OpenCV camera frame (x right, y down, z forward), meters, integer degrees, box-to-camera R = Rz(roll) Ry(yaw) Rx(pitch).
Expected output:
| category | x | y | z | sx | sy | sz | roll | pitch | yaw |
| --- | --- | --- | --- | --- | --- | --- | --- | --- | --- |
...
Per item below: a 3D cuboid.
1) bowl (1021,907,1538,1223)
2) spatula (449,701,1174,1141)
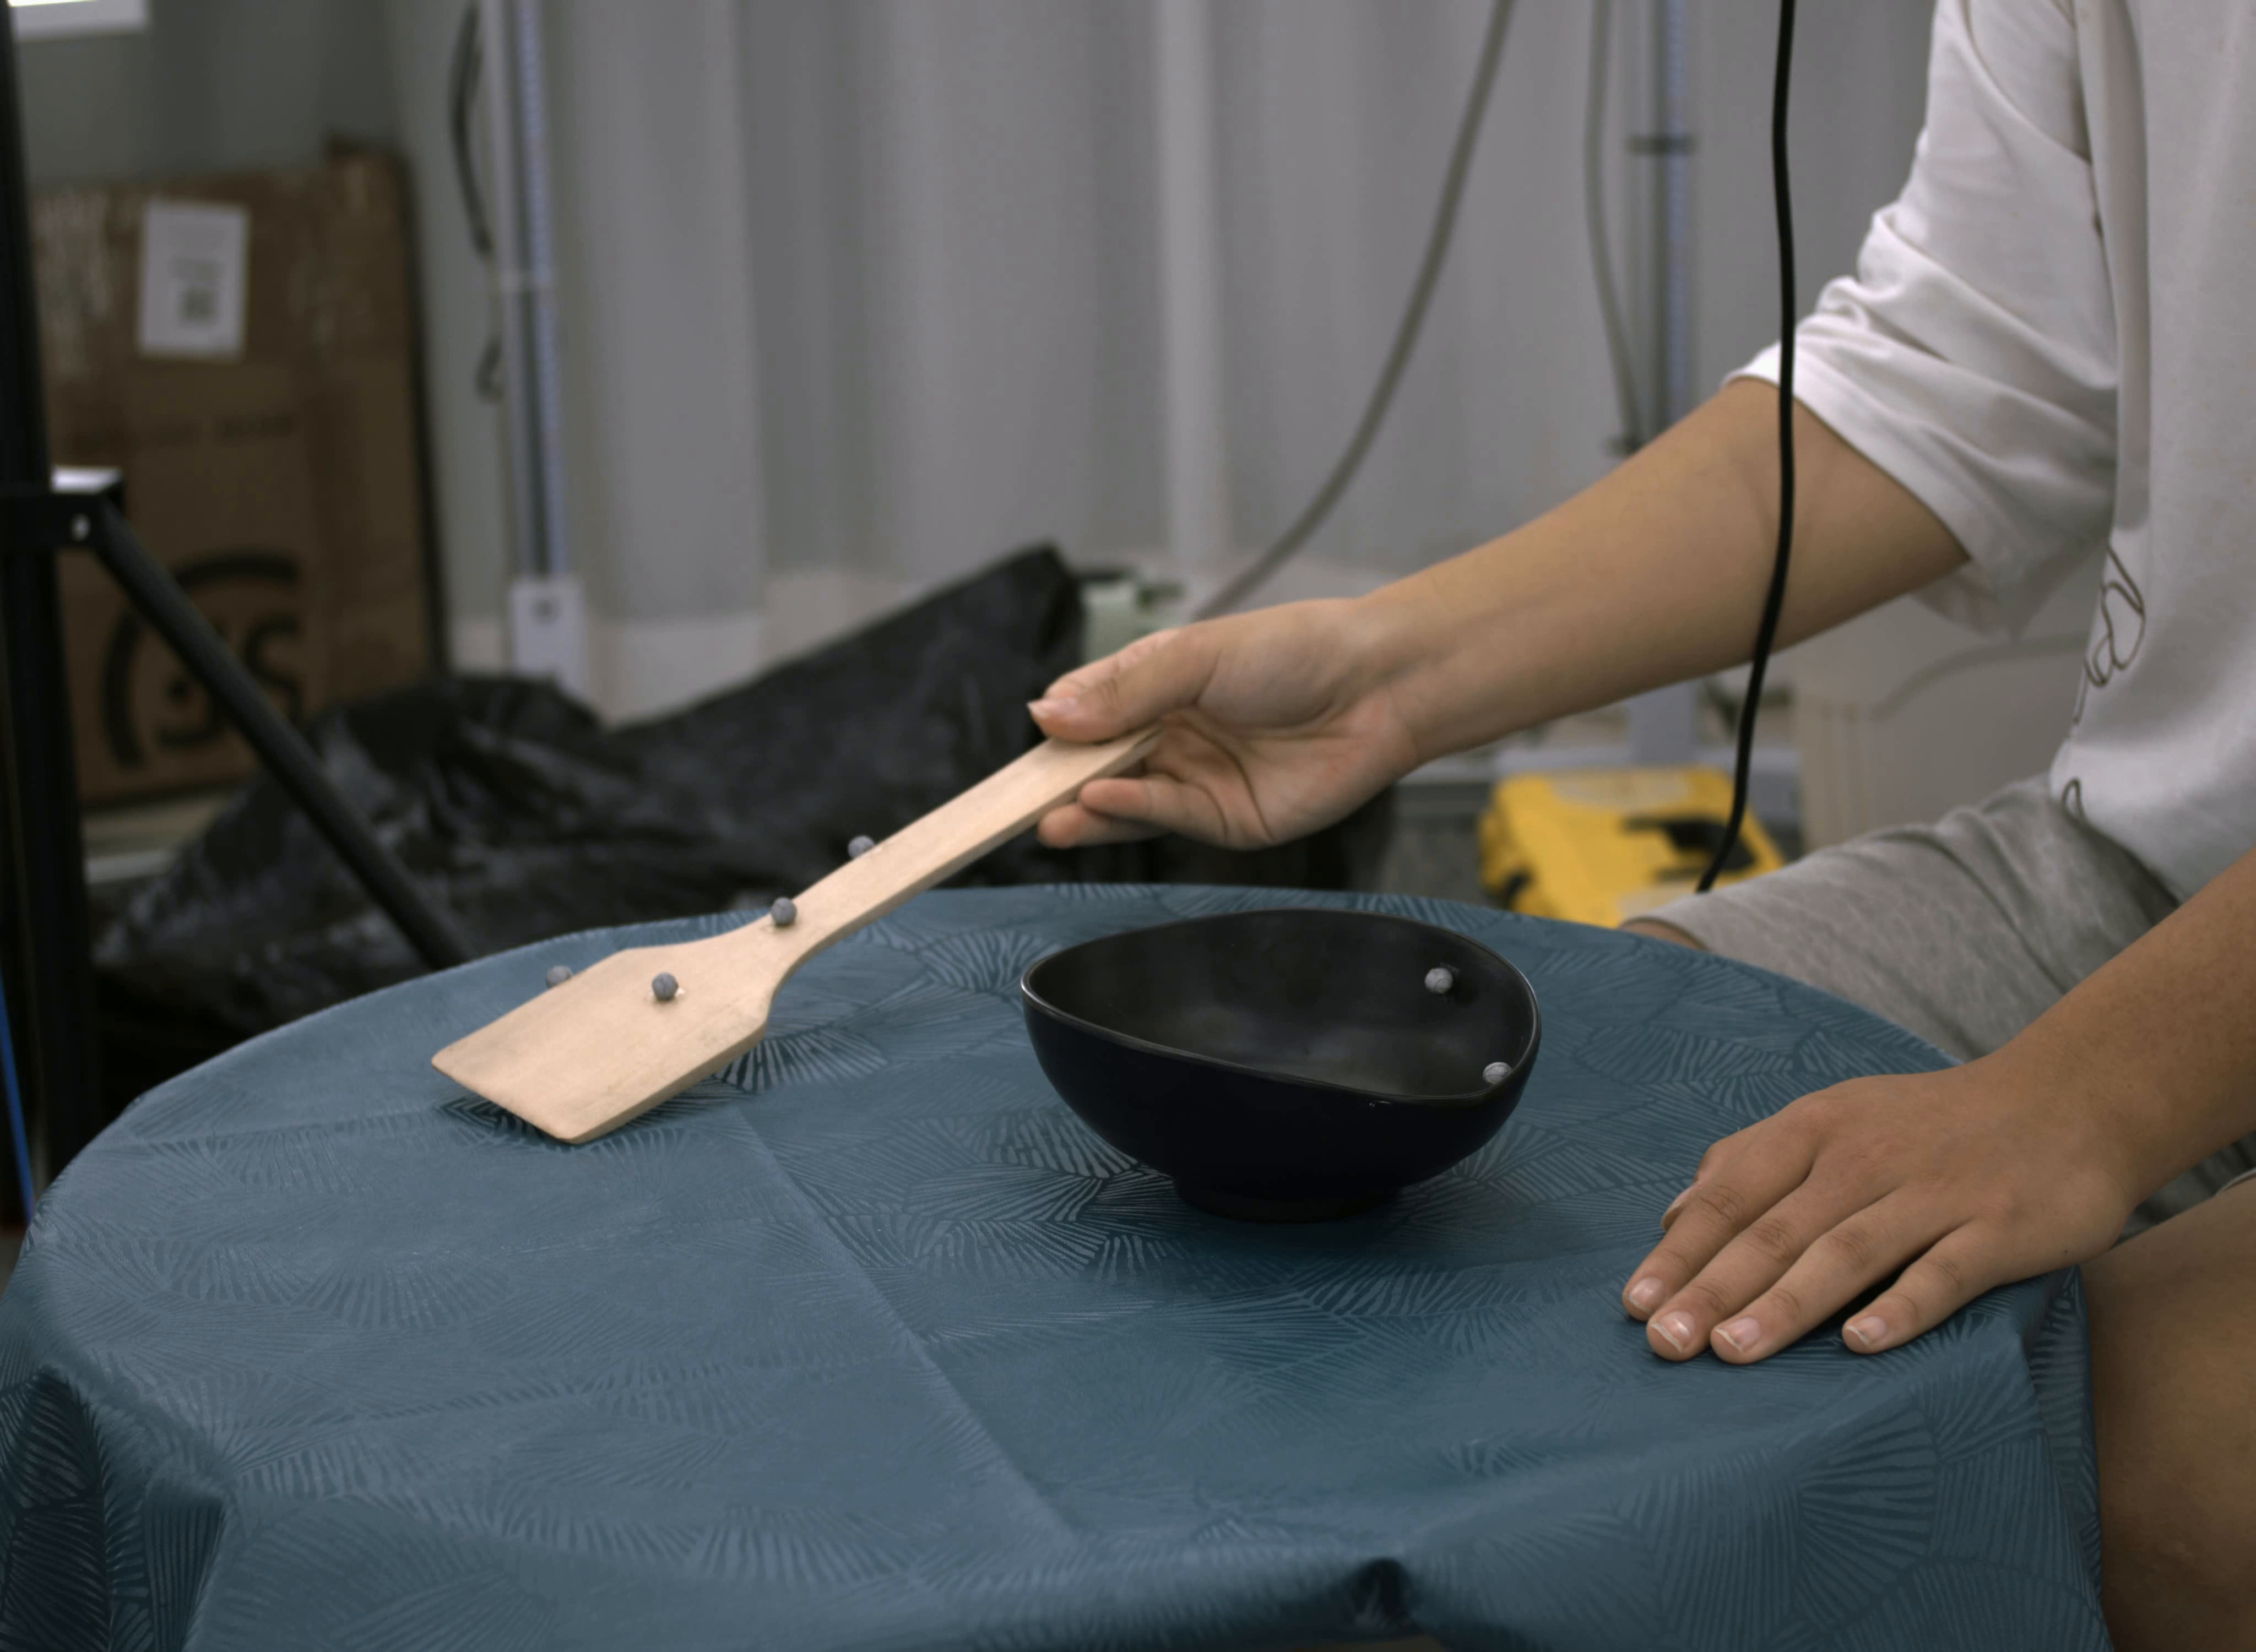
| category | x | y | z | sx | sy | sz | roll | pitch | yaw |
| --- | --- | --- | --- | --- | --- | --- | --- | --- | --- |
| bowl | 0.045 | 0.074 | 1.554 | 0.134 | 0.066 | 0.174 | -16 | 23 | -41 |
| spatula | -0.091 | 0.024 | 1.727 | 0.074 | 0.010 | 0.288 | 24 | 43 | 39 |
